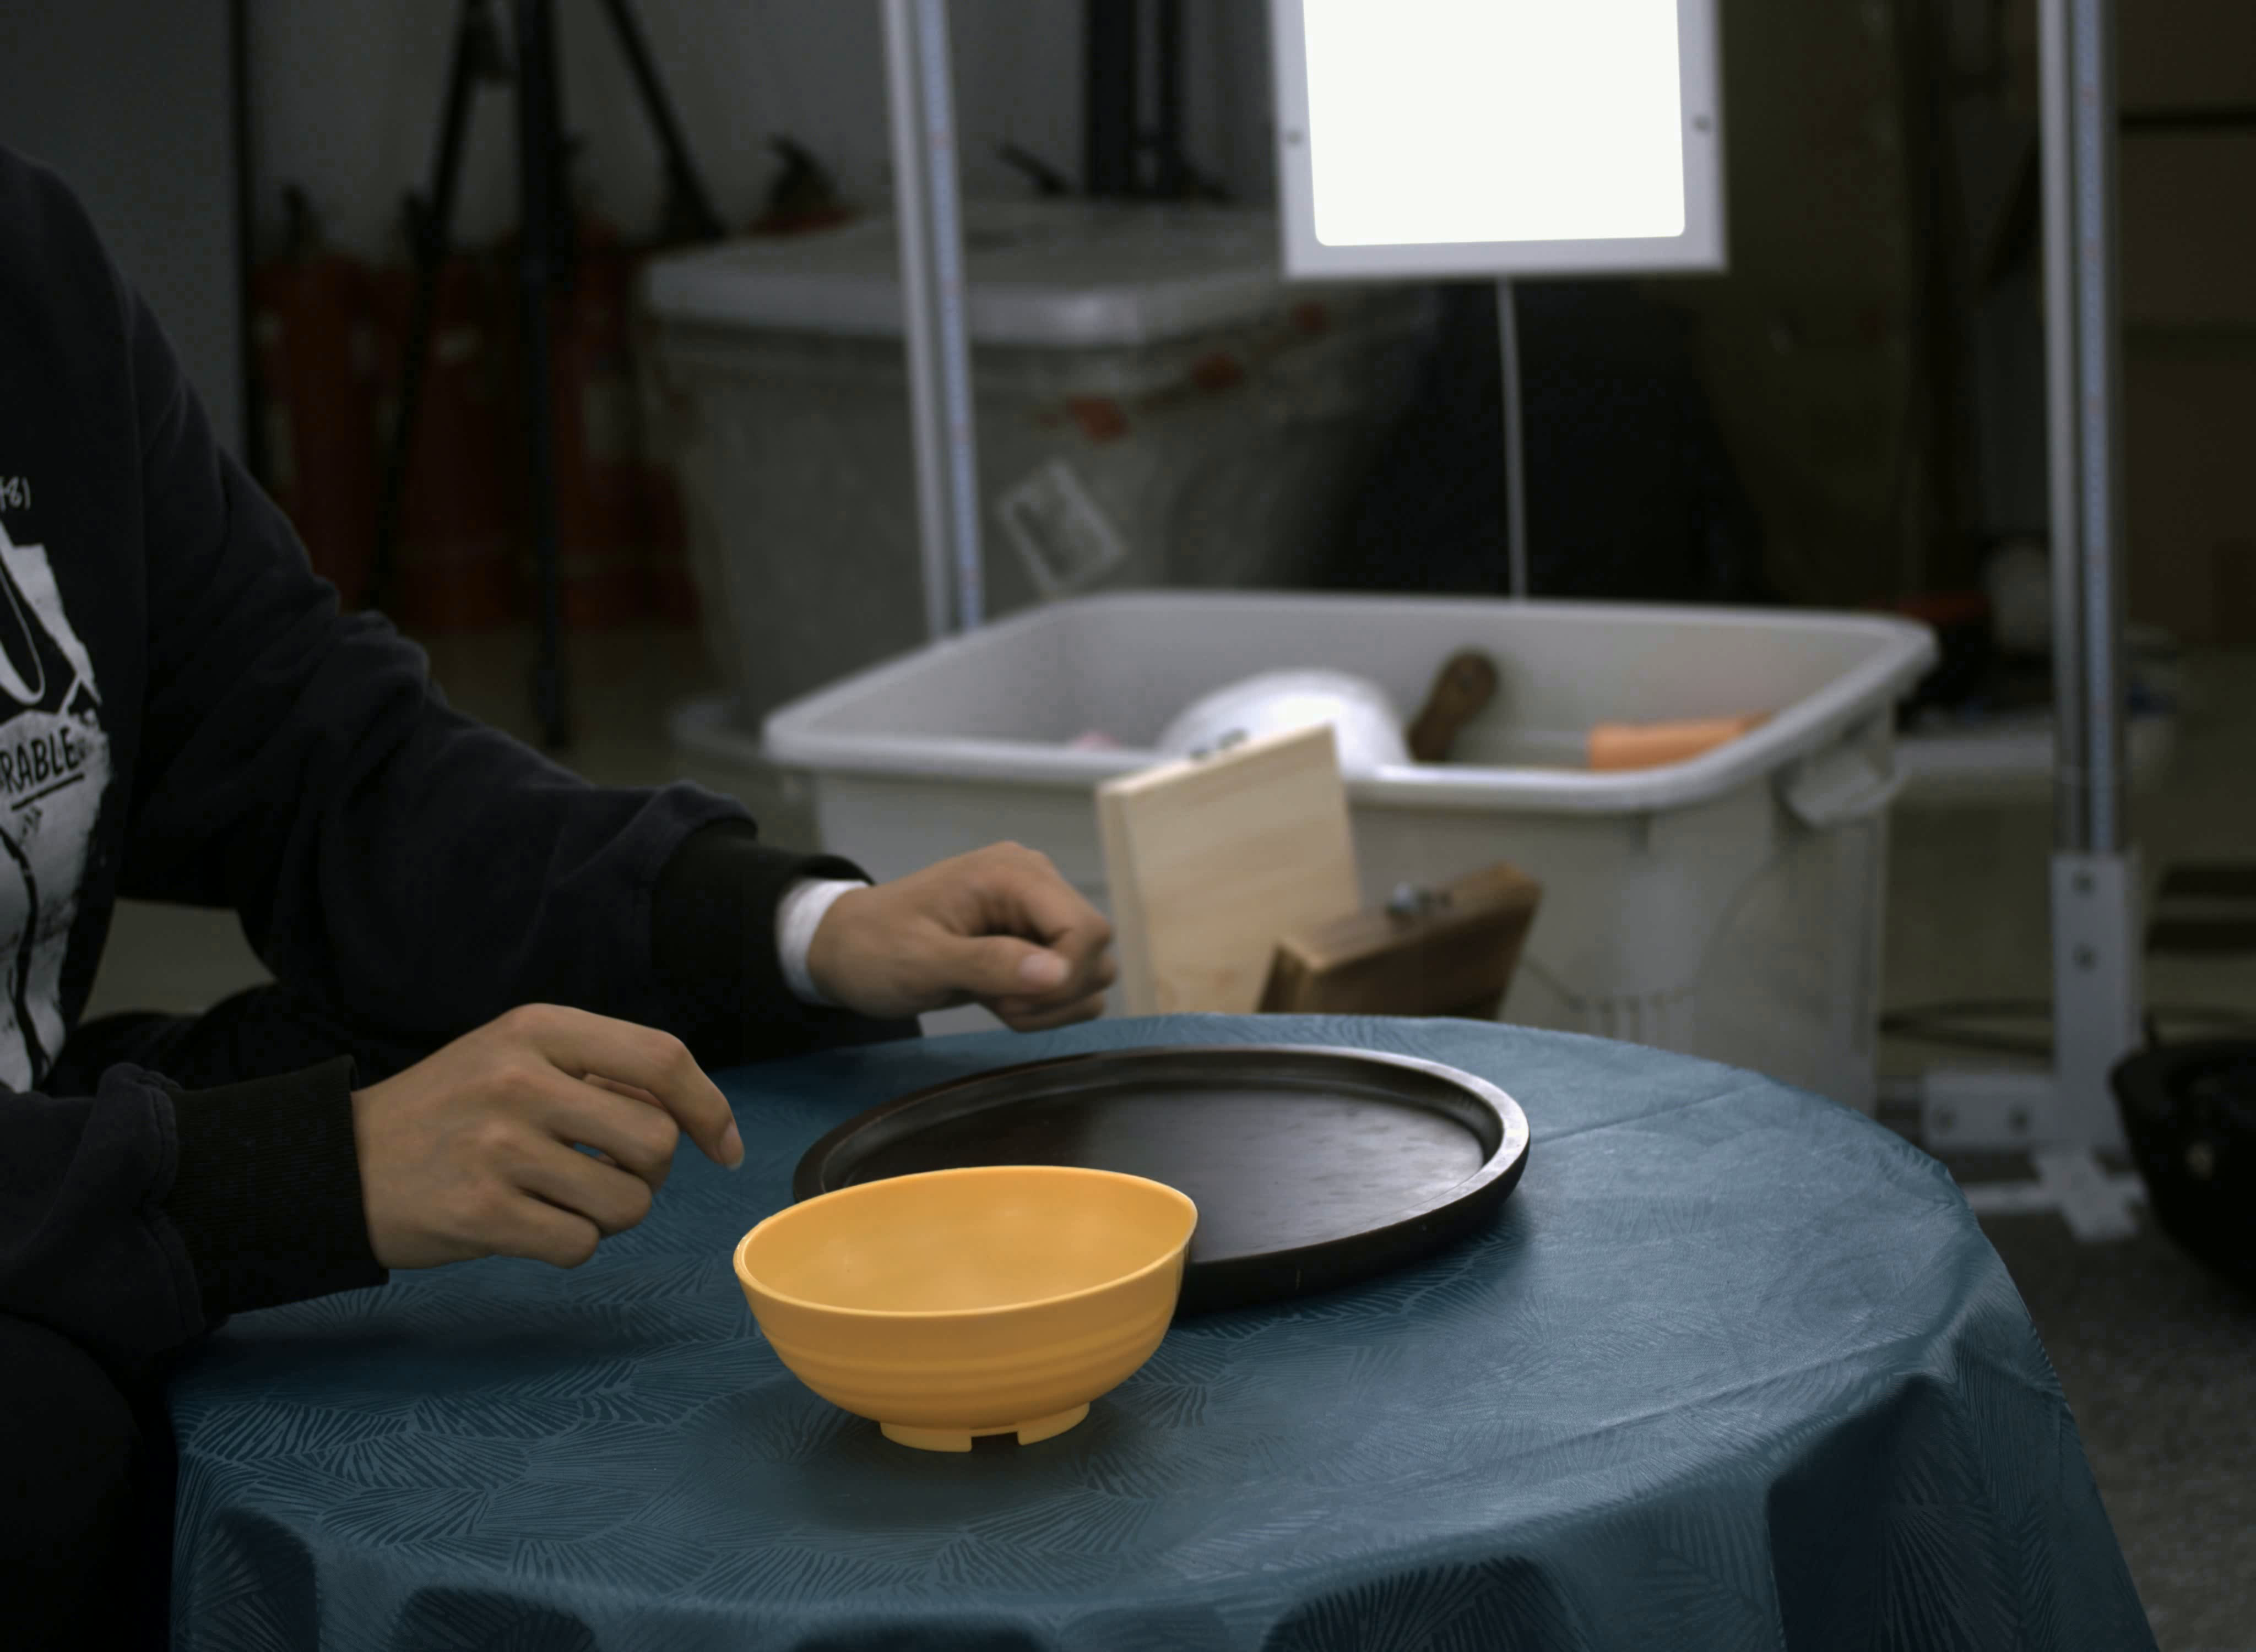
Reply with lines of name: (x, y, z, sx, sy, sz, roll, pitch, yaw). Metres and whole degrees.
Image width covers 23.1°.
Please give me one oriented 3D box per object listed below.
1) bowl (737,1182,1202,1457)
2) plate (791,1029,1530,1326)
bowl: (-0.045, 0.154, 1.683, 0.145, 0.060, 0.145, -6, 11, 0)
plate: (0.012, 0.120, 1.875, 0.254, 0.029, 0.254, -6, 15, 0)
